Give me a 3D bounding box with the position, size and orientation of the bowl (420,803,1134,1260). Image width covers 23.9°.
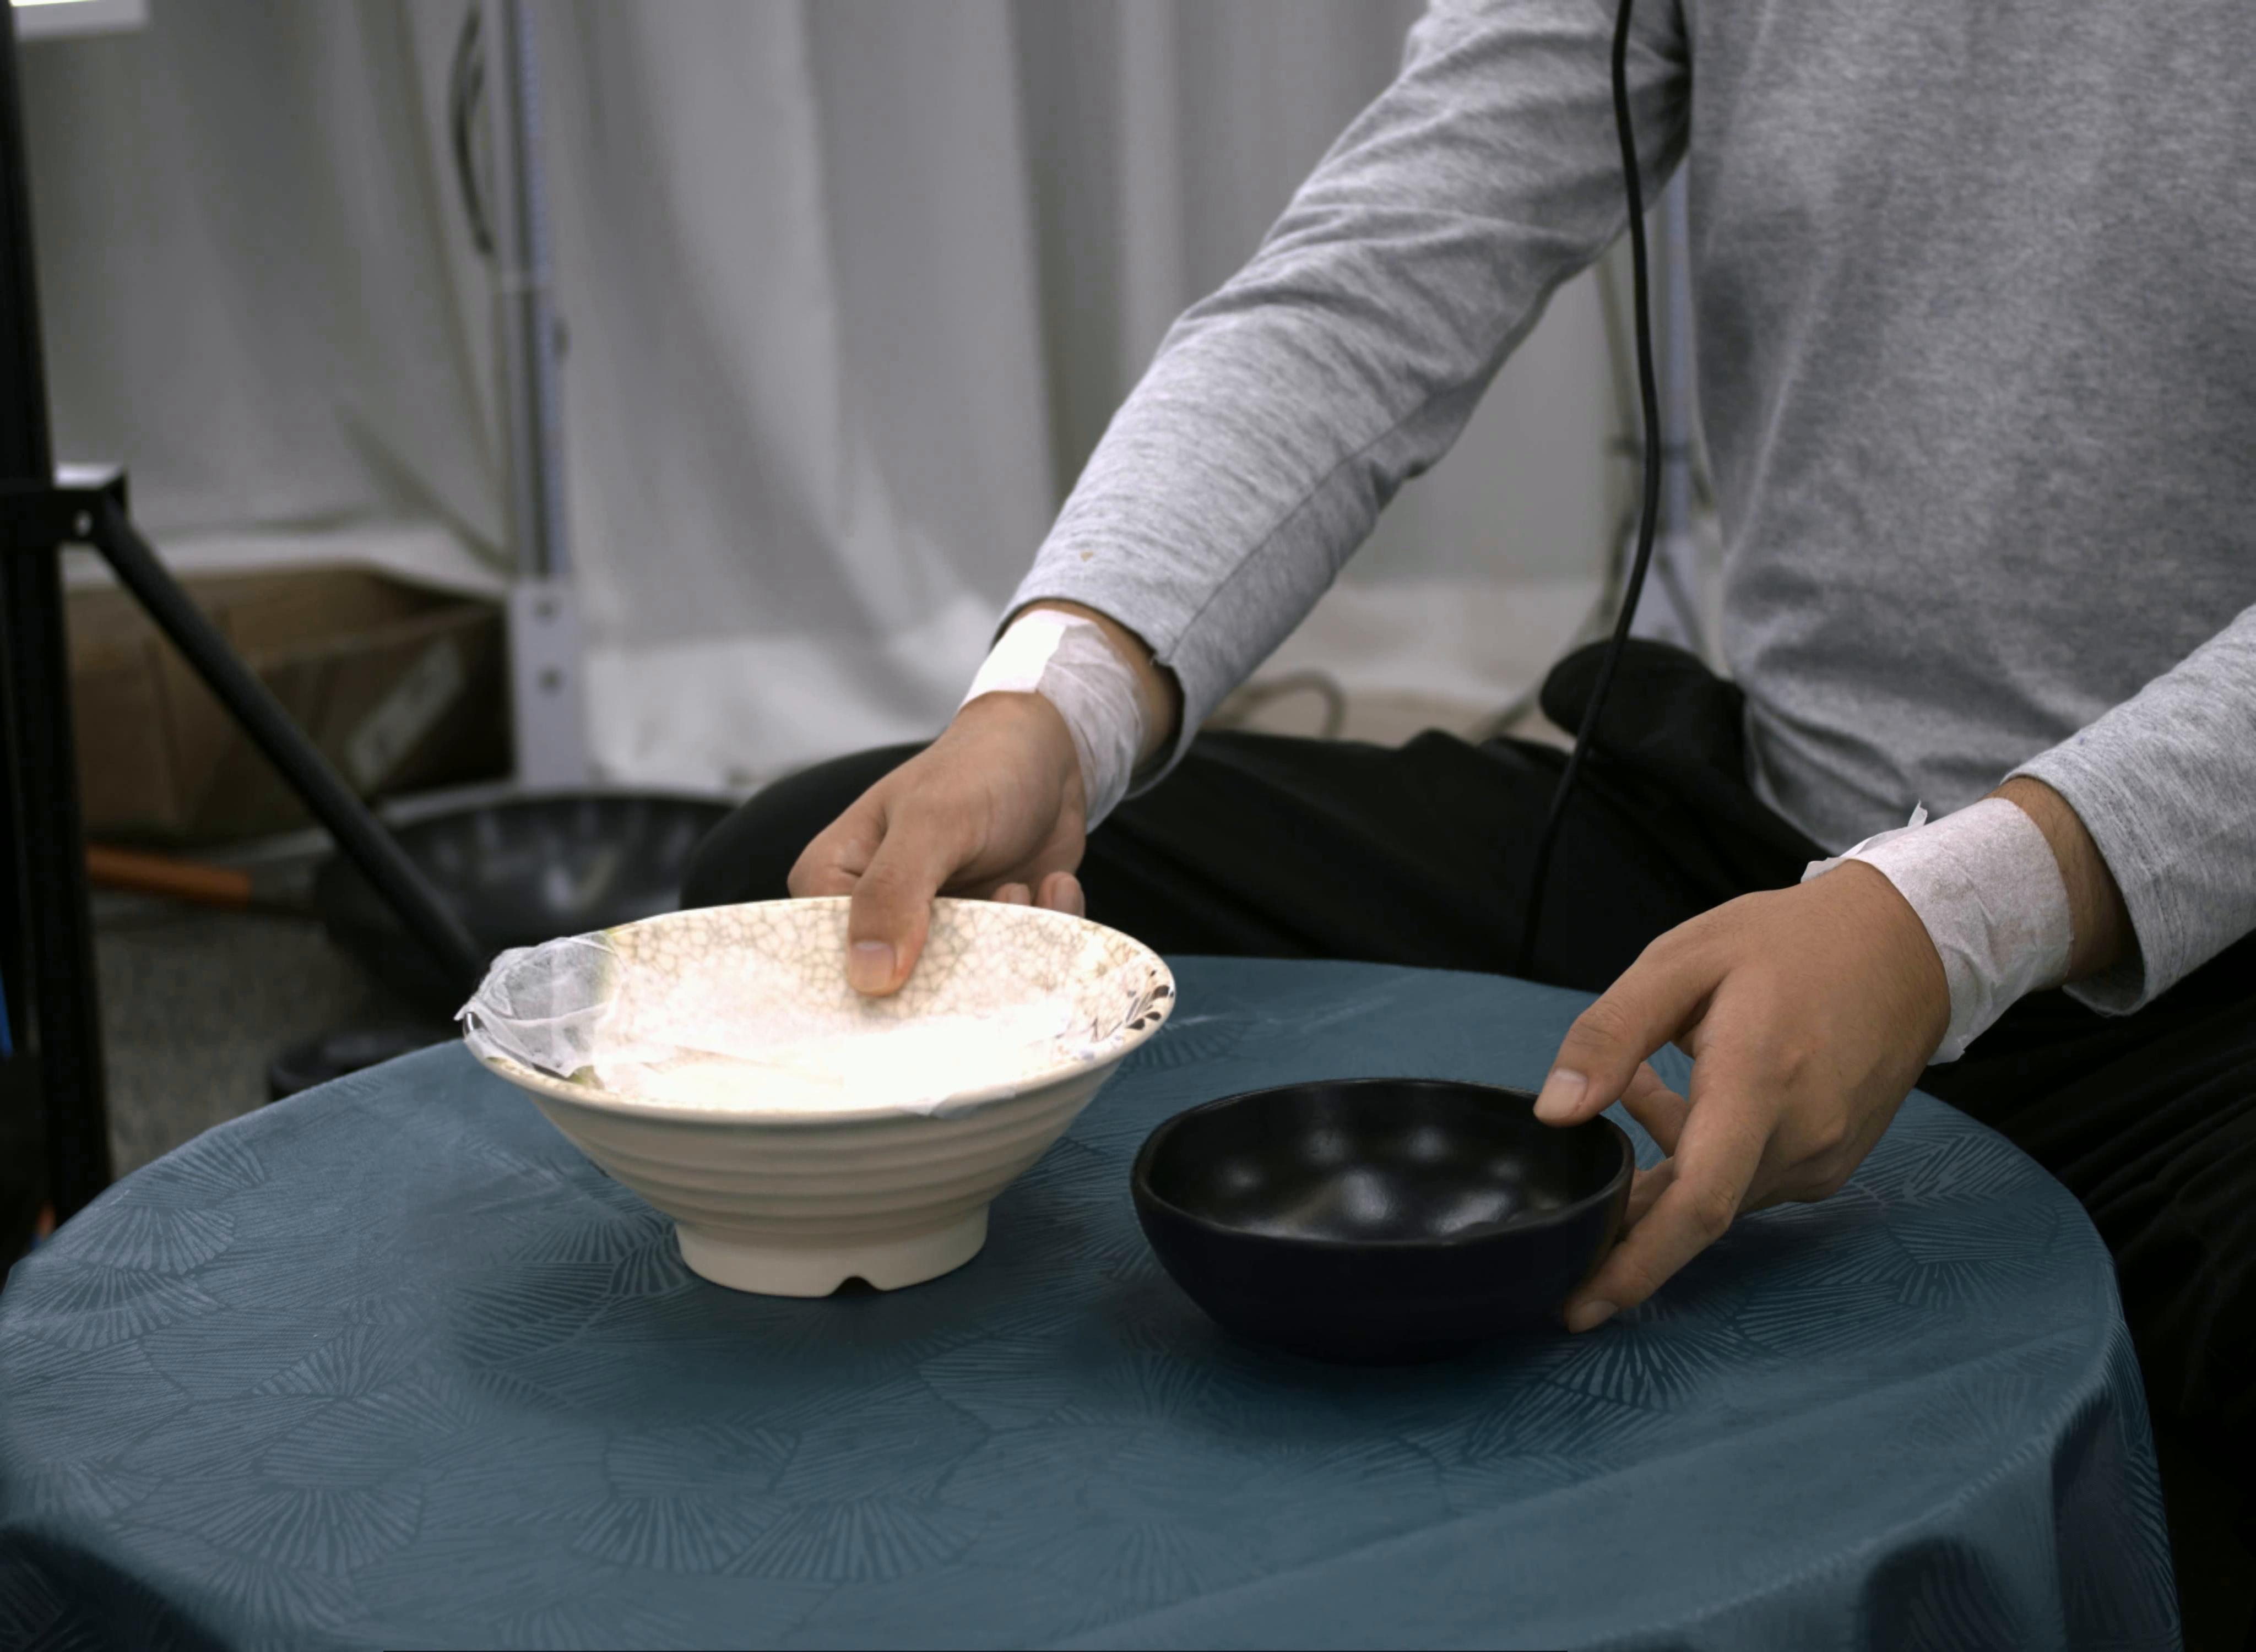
[{"bbox_3d":[-0.096,0.069,1.519,0.203,0.077,0.205,-6,23,1],"label":"bowl"}]

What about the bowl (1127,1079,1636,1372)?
[{"bbox_3d":[0.069,0.114,1.444,0.139,0.050,0.141,0,15,-1],"label":"bowl"}]
